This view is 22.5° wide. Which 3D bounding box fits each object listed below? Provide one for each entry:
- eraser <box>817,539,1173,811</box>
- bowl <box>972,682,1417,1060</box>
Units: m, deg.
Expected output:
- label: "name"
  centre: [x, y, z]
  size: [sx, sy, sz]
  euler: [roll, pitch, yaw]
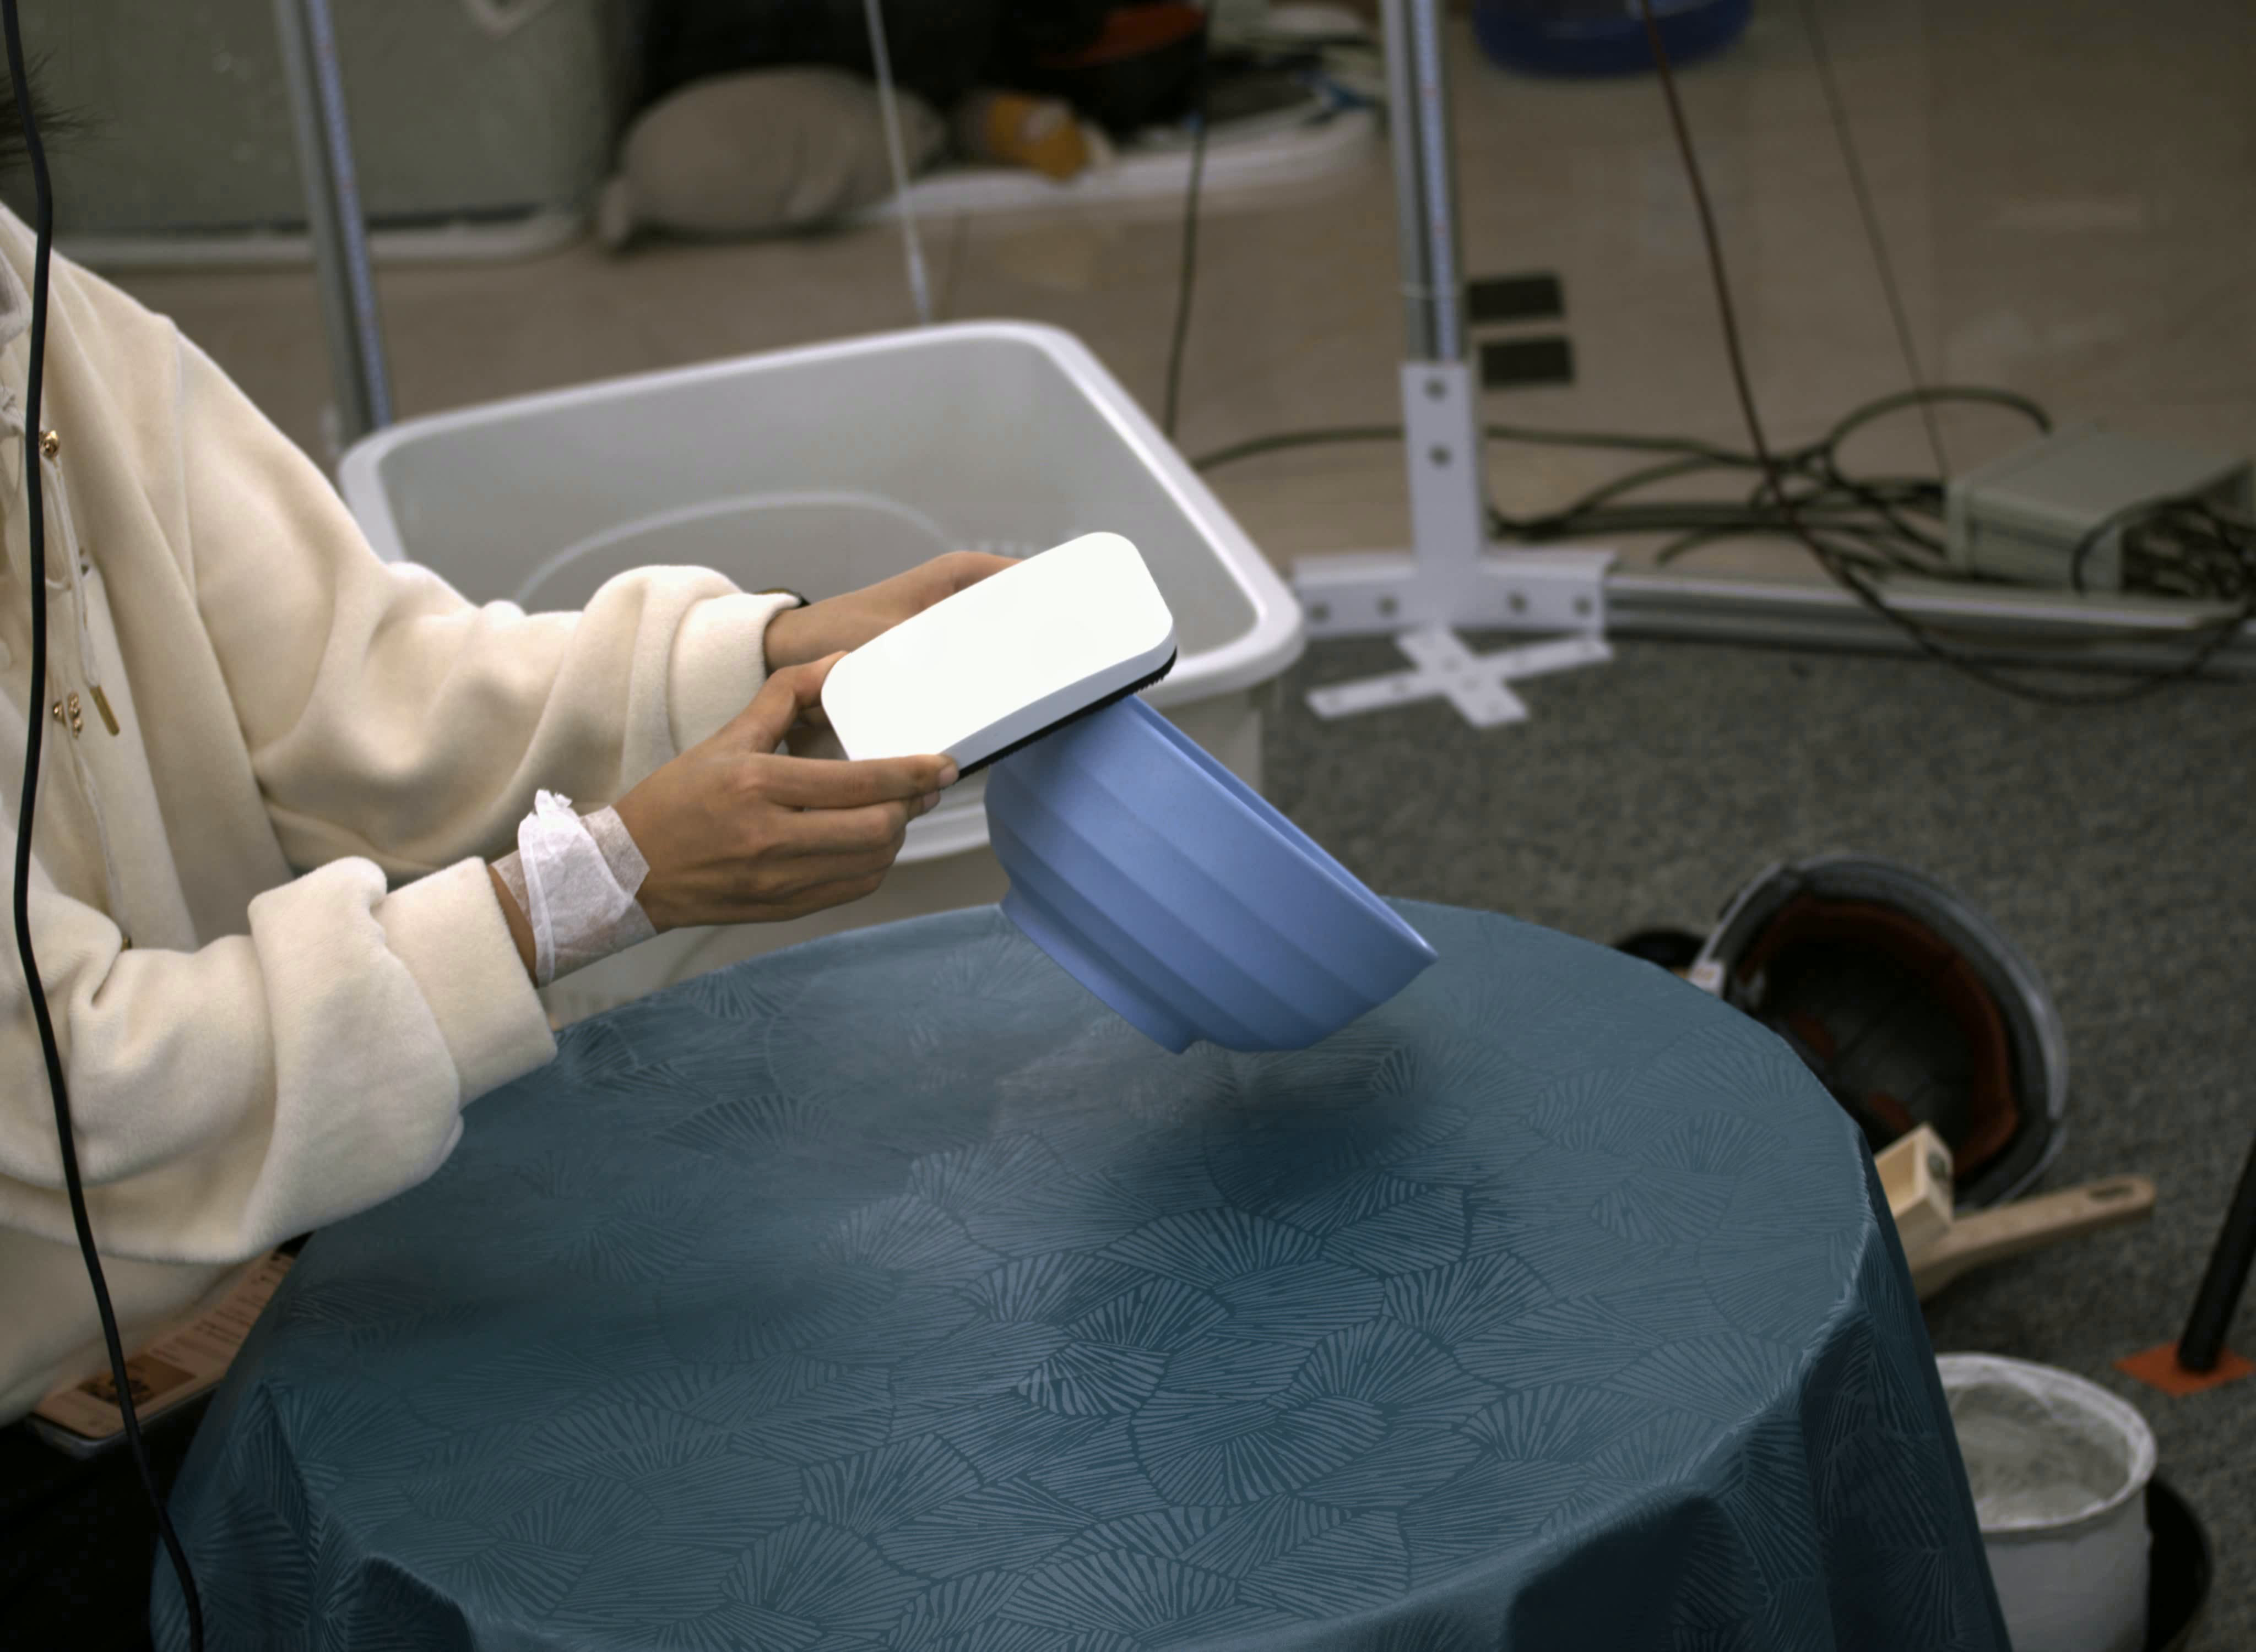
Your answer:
- label: "eraser"
  centre: [-0.049, -0.058, 2.100]
  size: [0.131, 0.035, 0.062]
  euler: [-26, 57, -1]
- label: "bowl"
  centre: [0.009, 0.023, 2.179]
  size: [0.096, 0.198, 0.194]
  euler: [-46, 26, 8]
